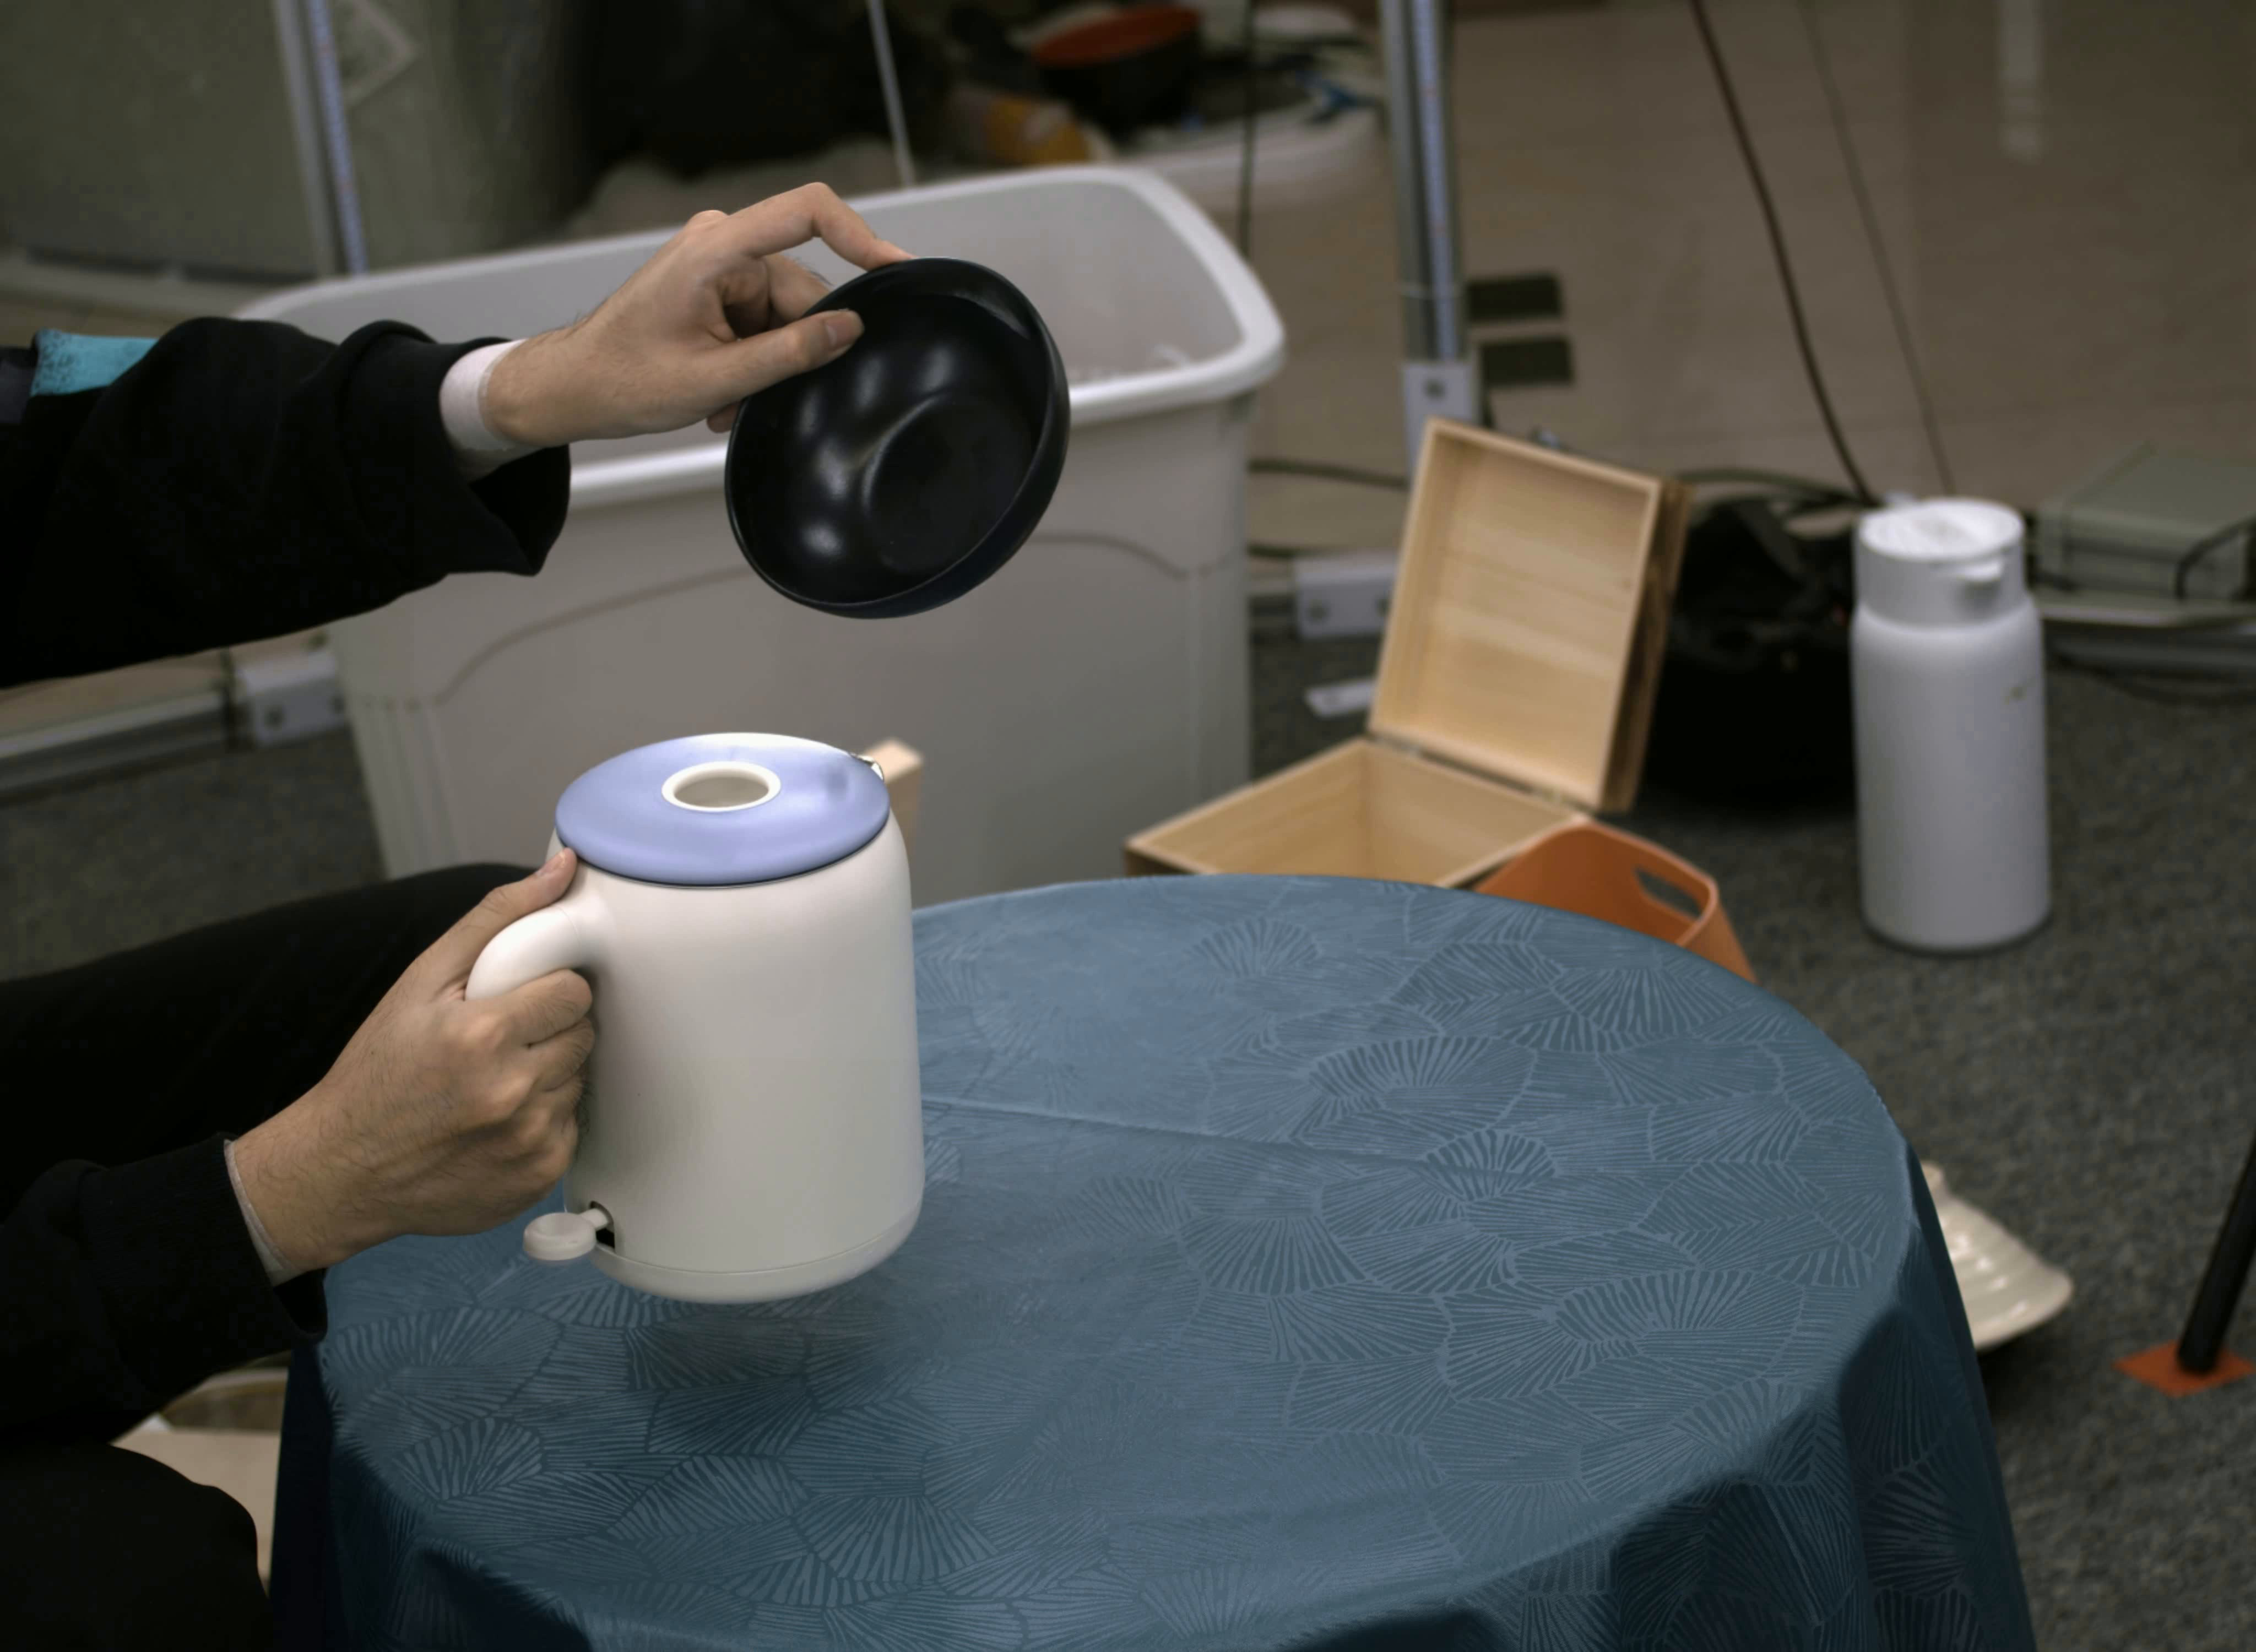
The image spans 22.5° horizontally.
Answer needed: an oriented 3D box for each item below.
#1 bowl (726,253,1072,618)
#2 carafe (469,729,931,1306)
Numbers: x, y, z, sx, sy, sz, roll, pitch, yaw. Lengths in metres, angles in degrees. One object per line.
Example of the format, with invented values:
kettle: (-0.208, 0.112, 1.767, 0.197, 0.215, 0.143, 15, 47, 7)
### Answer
bowl: (-0.074, -0.133, 2.028, 0.139, 0.139, 0.050, 14, -11, 37)
carafe: (-0.158, 0.076, 2.010, 0.189, 0.185, 0.131, -26, 34, -36)
